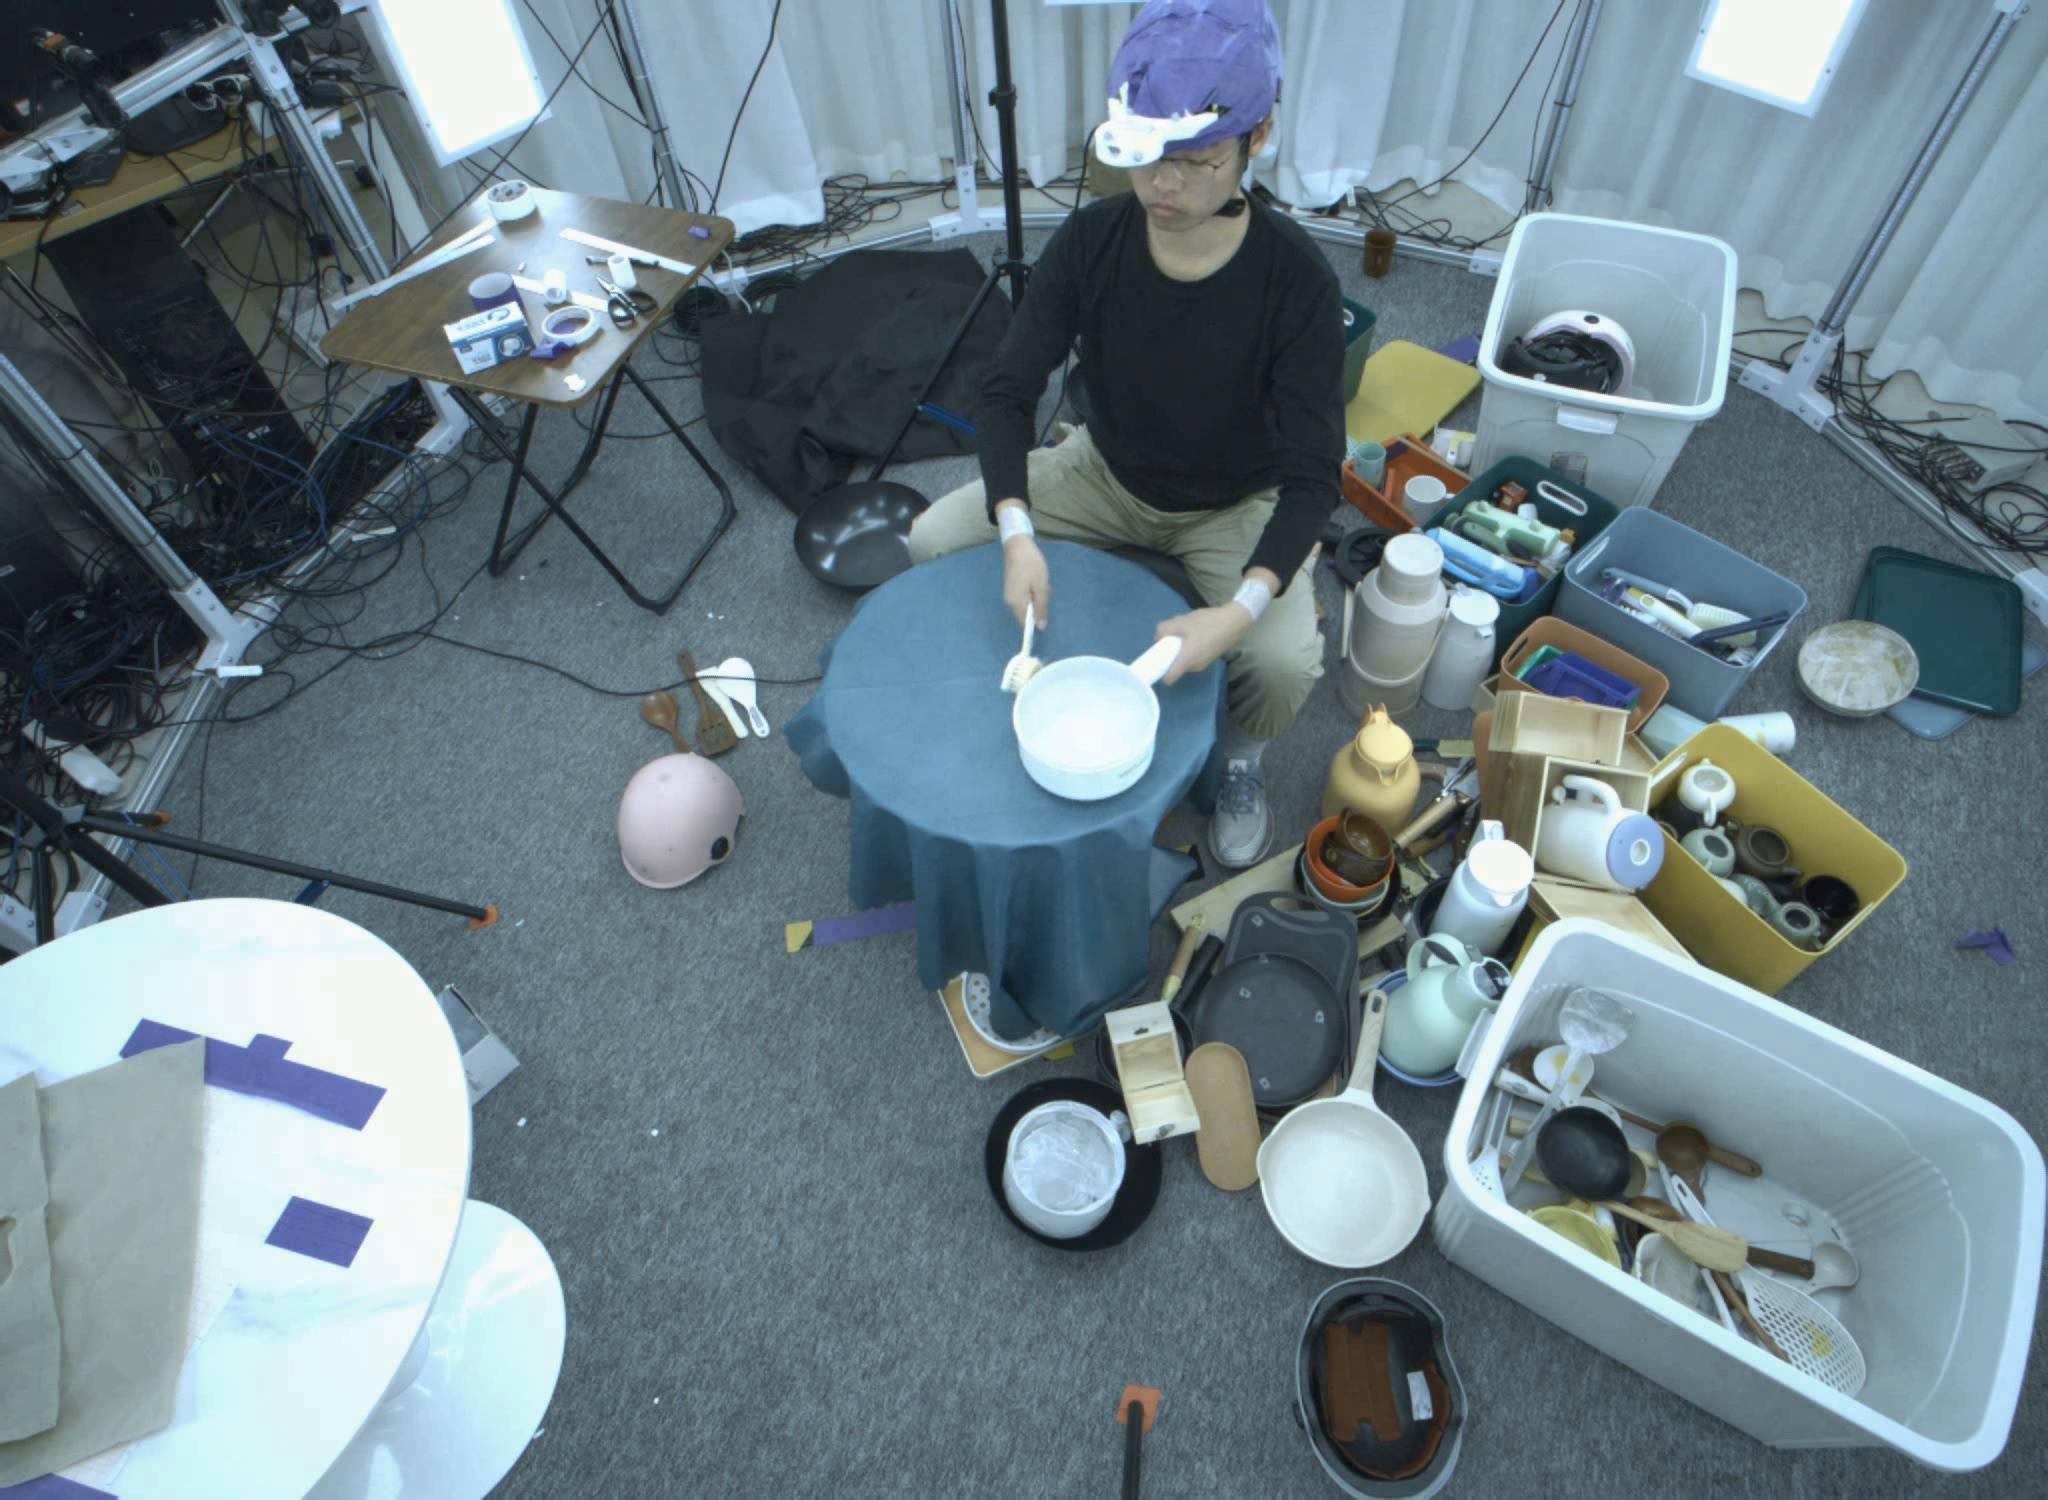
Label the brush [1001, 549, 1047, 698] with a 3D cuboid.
[{"bbox_3d":[0.016,-0.192,1.811,0.056,0.069,0.265,5,59,11],"label":"brush"}]

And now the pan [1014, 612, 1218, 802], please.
[{"bbox_3d":[0.144,-0.067,1.774,0.357,0.103,0.197,-39,60,-24],"label":"pan"}]
